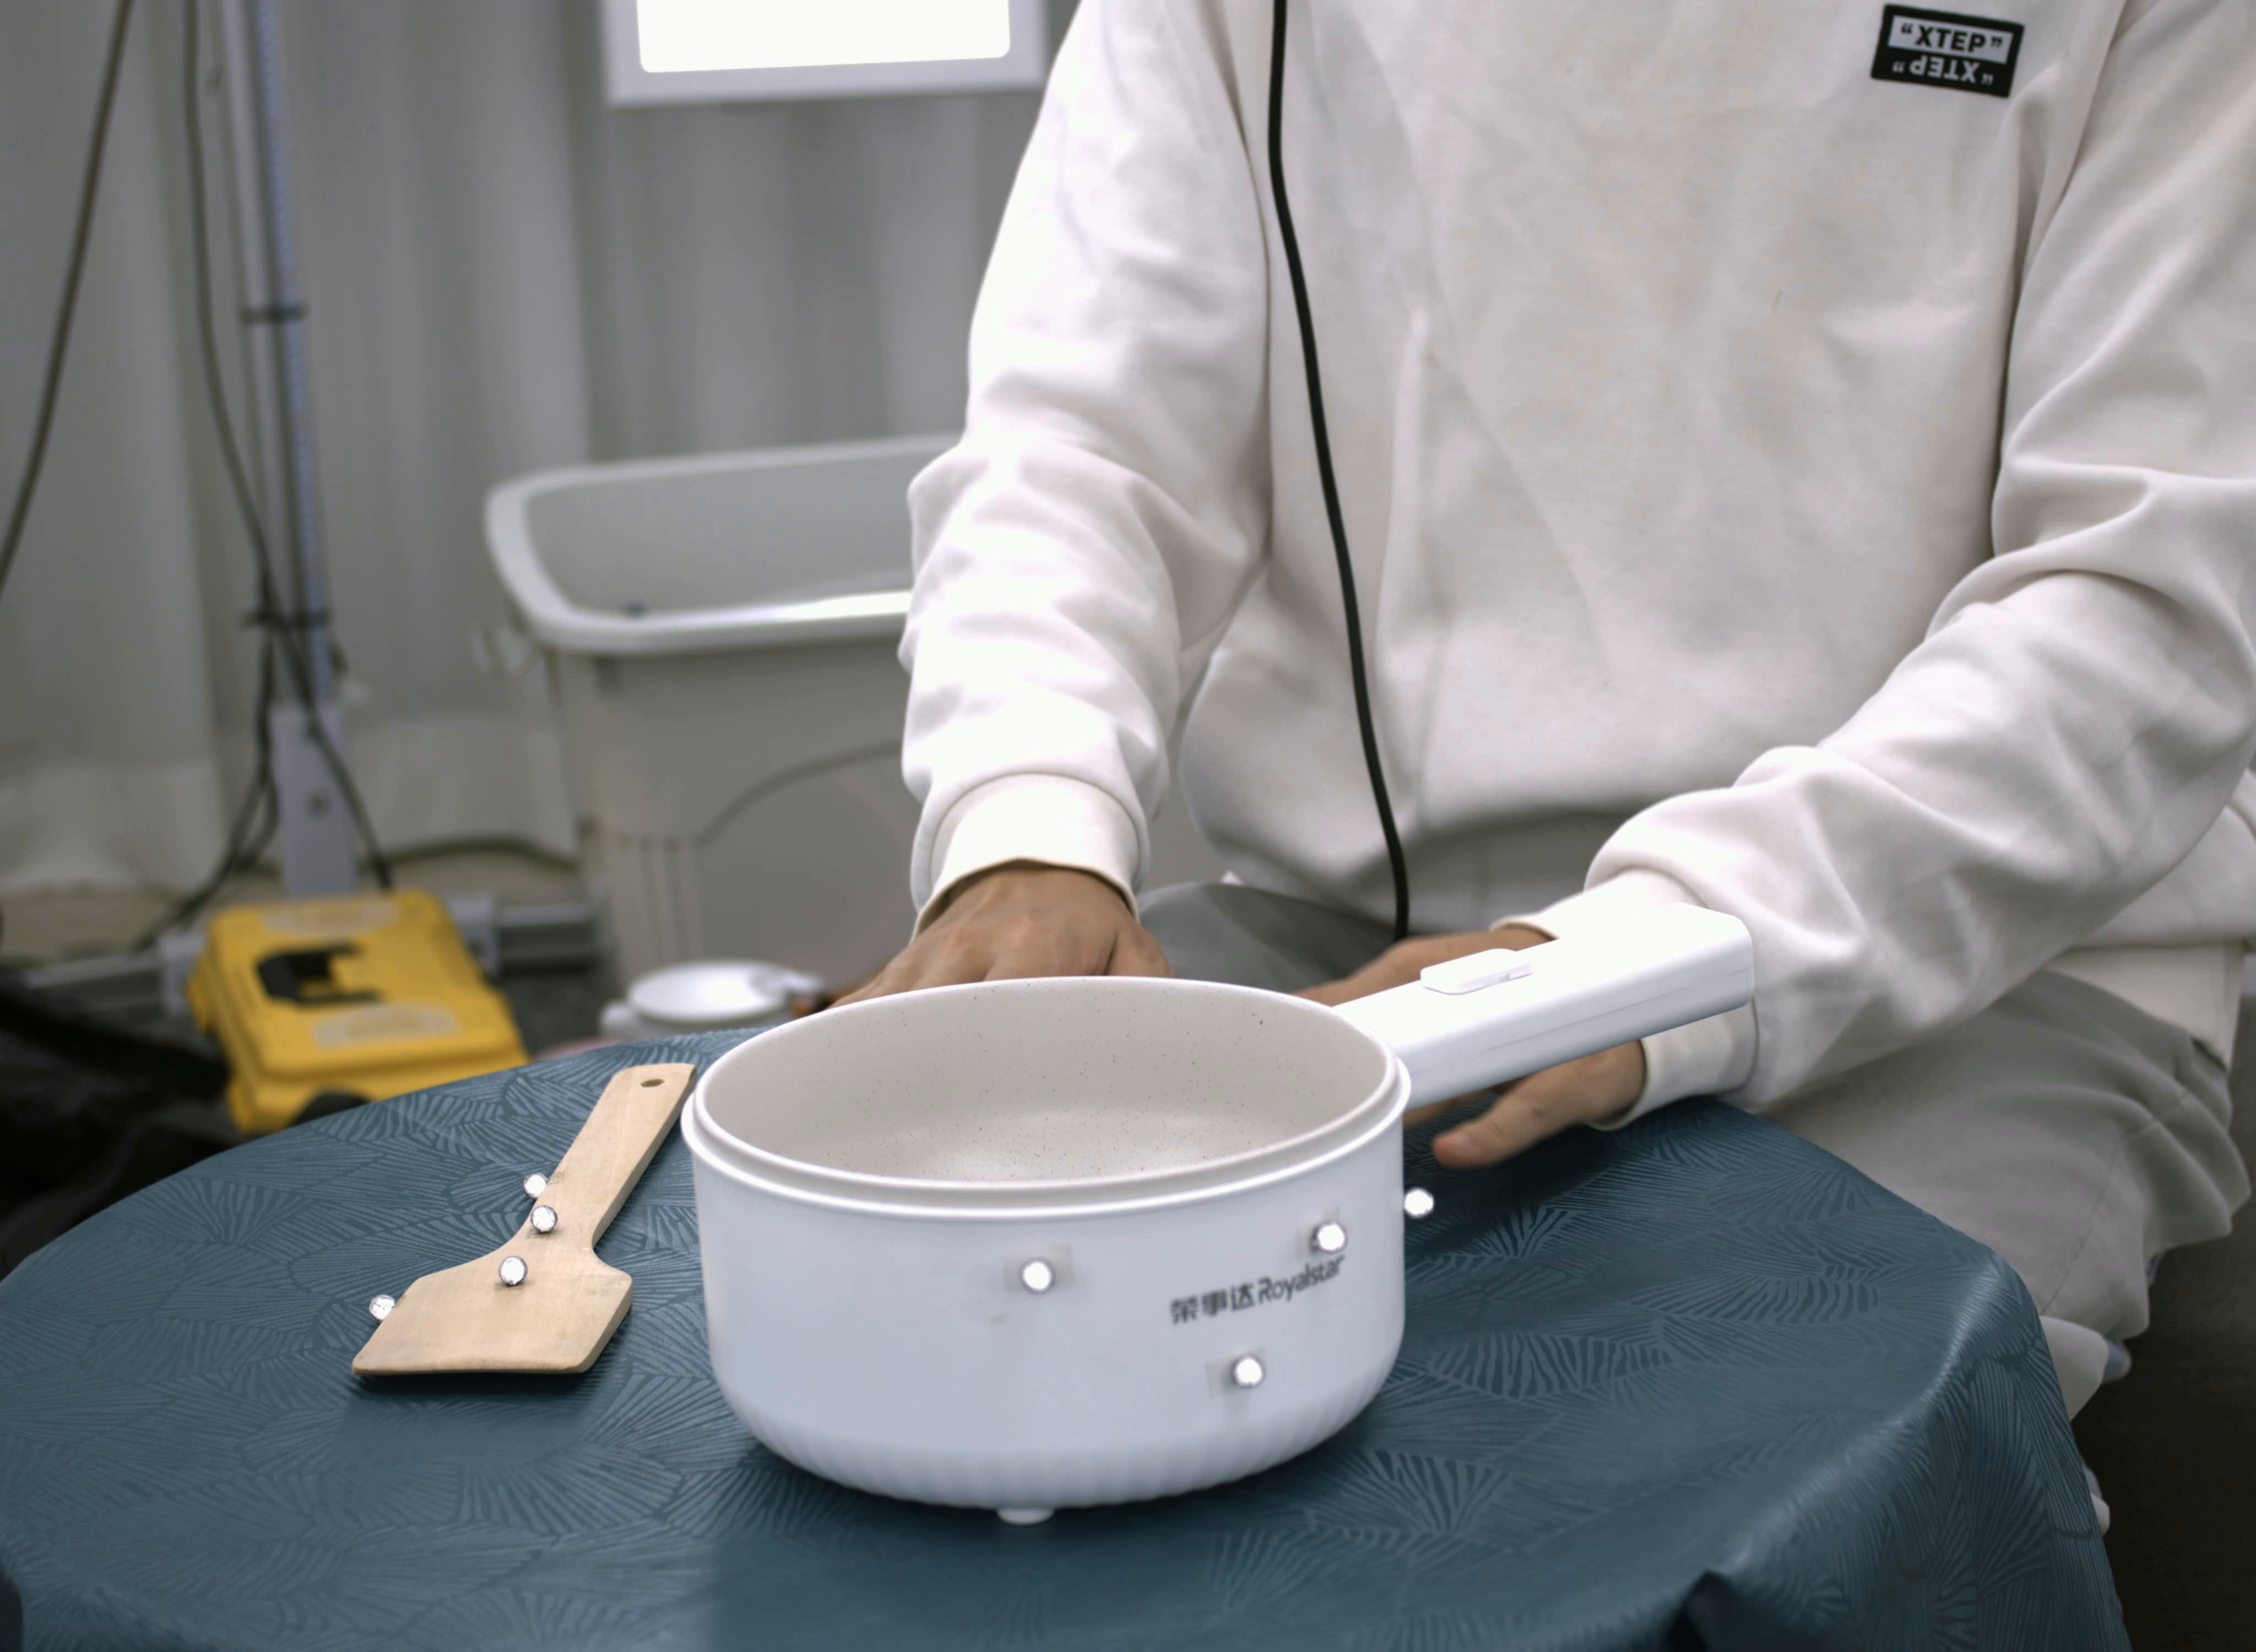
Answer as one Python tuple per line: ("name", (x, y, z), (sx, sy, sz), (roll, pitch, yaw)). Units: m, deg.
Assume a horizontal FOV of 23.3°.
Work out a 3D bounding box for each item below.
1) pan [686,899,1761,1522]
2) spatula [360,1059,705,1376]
("pan", (0.040, 0.102, 1.562), (0.353, 0.102, 0.202), (-13, 18, -36))
("spatula", (-0.173, 0.121, 1.710), (0.072, 0.010, 0.295), (-2, 15, 7))
